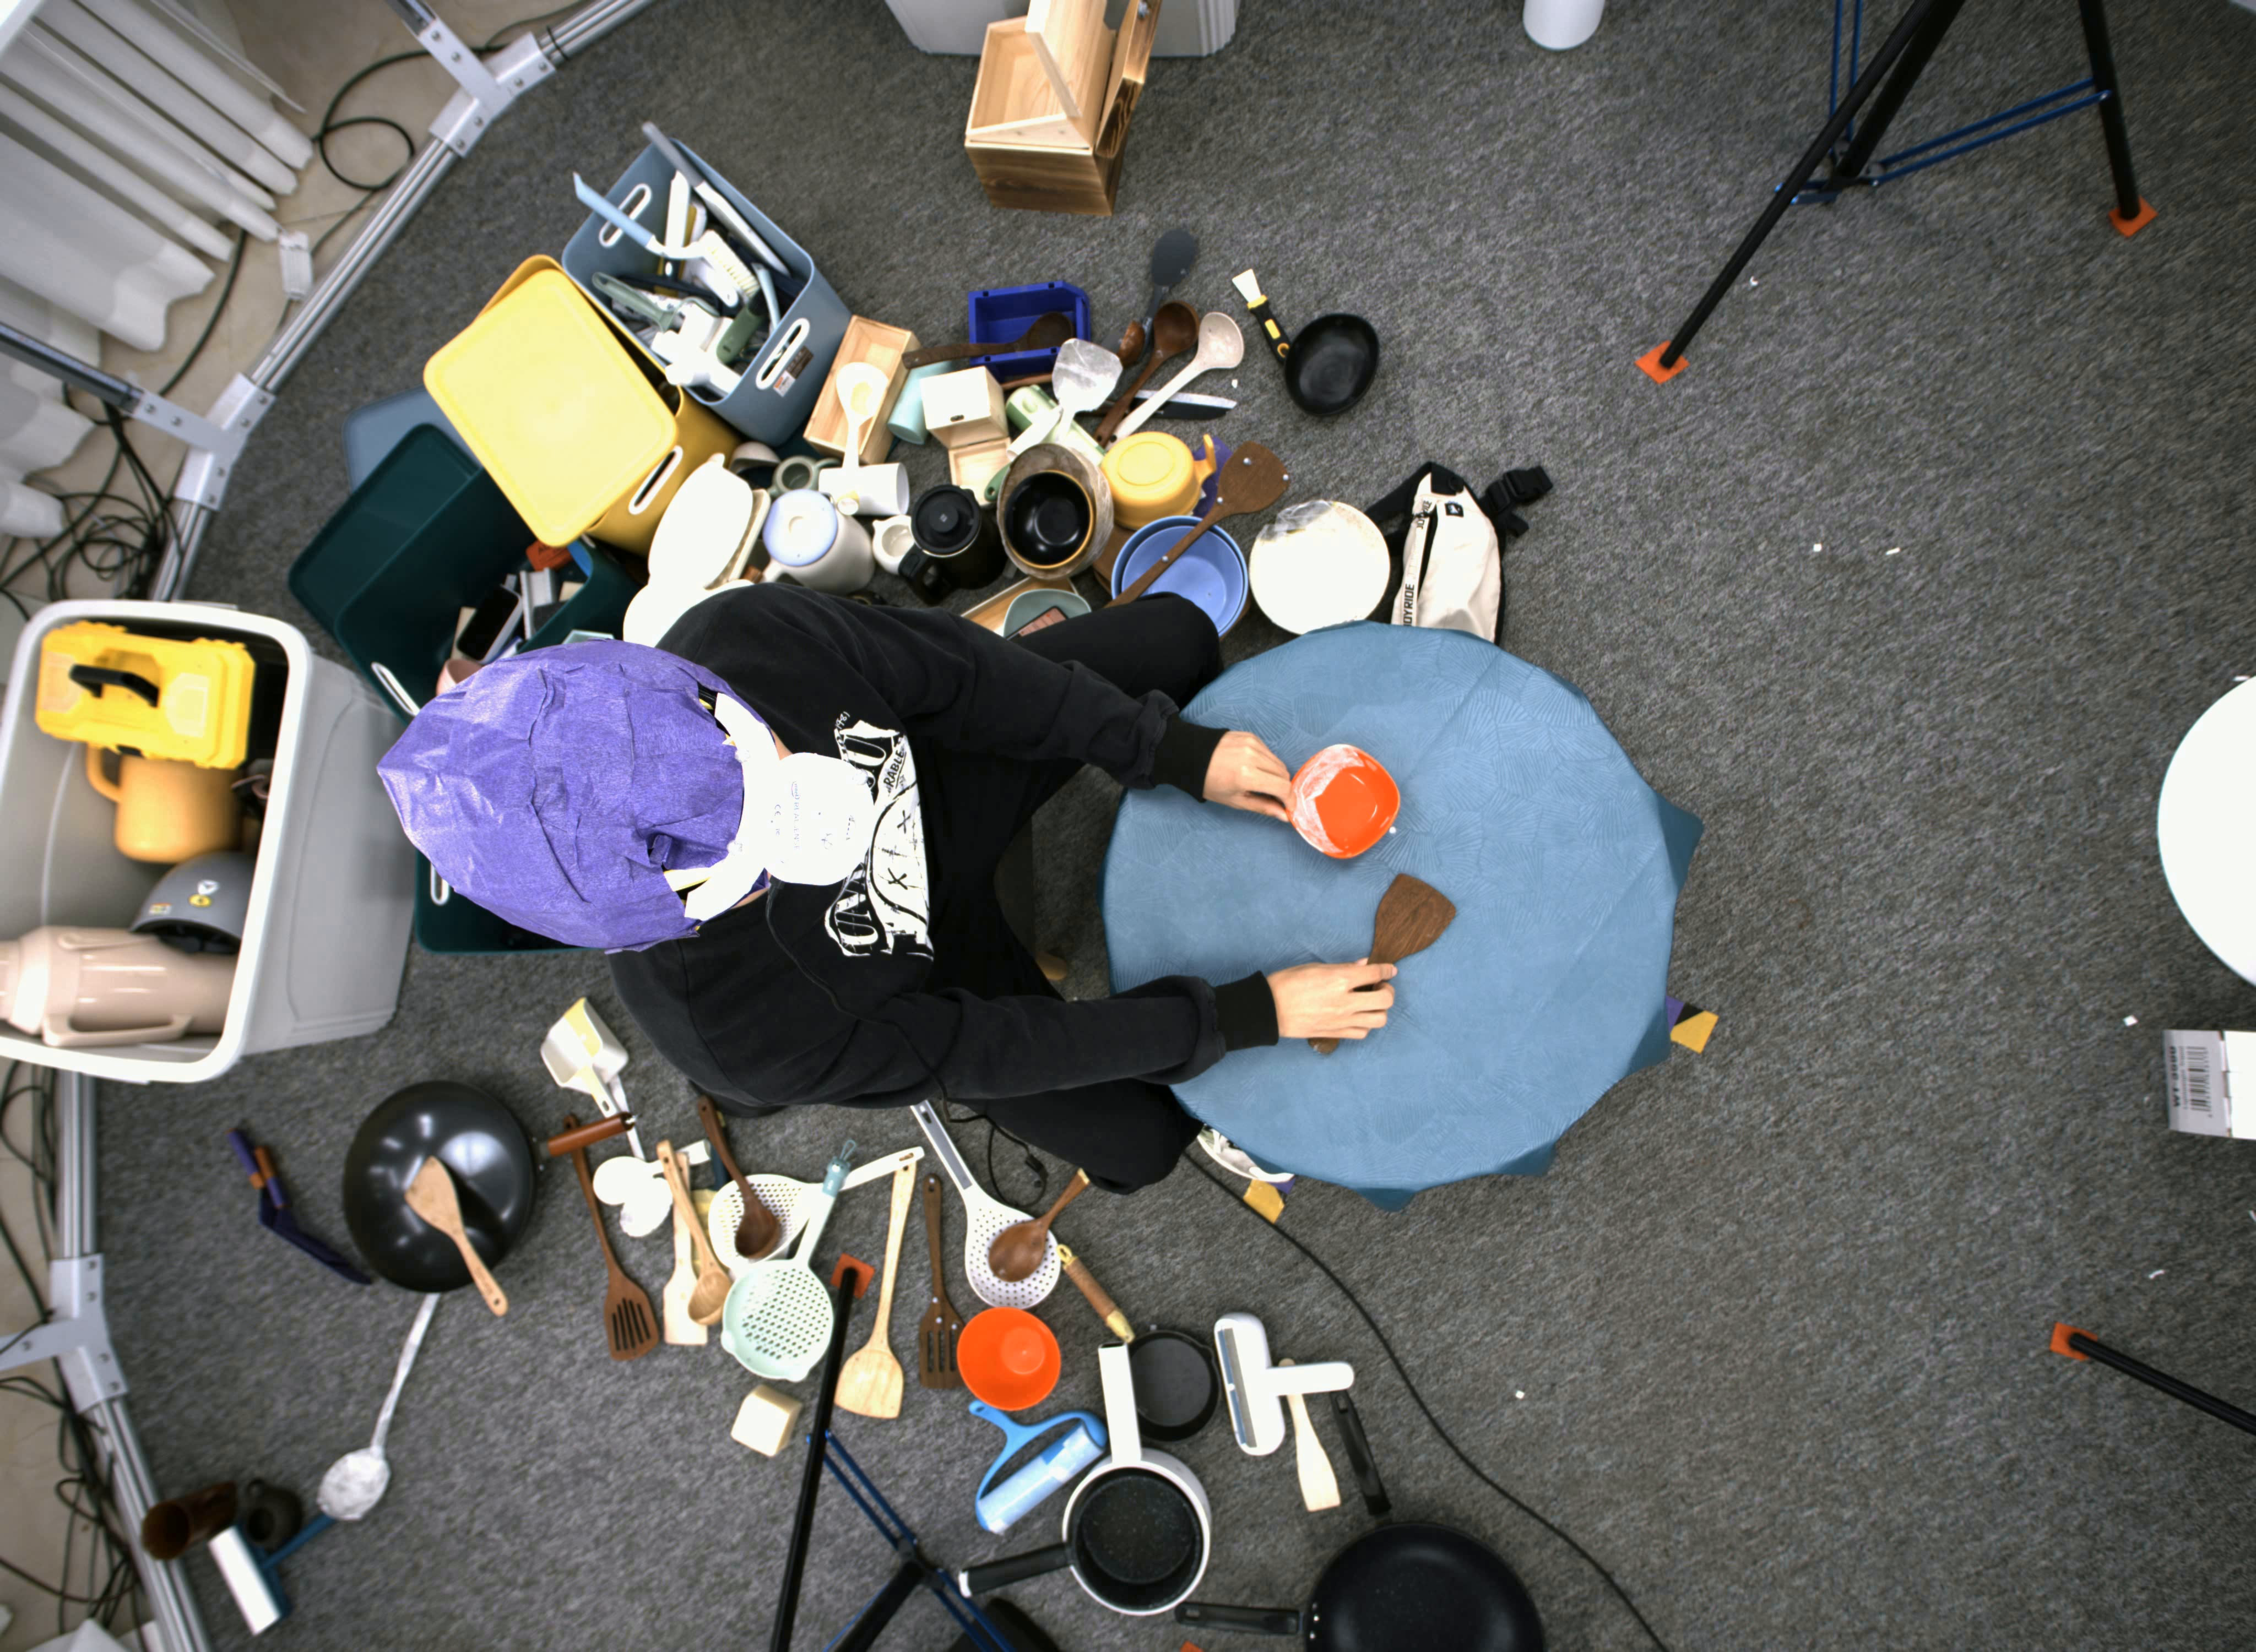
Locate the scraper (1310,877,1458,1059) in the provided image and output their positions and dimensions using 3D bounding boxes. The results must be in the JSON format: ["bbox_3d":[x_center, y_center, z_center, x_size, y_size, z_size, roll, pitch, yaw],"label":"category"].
[{"bbox_3d":[0.260,0.152,1.451,0.075,0.011,0.211,36,88,11],"label":"scraper"}]

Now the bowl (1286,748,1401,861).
[{"bbox_3d":[0.227,-0.021,1.455,0.119,0.051,0.118,-1,87,10],"label":"bowl"}]
